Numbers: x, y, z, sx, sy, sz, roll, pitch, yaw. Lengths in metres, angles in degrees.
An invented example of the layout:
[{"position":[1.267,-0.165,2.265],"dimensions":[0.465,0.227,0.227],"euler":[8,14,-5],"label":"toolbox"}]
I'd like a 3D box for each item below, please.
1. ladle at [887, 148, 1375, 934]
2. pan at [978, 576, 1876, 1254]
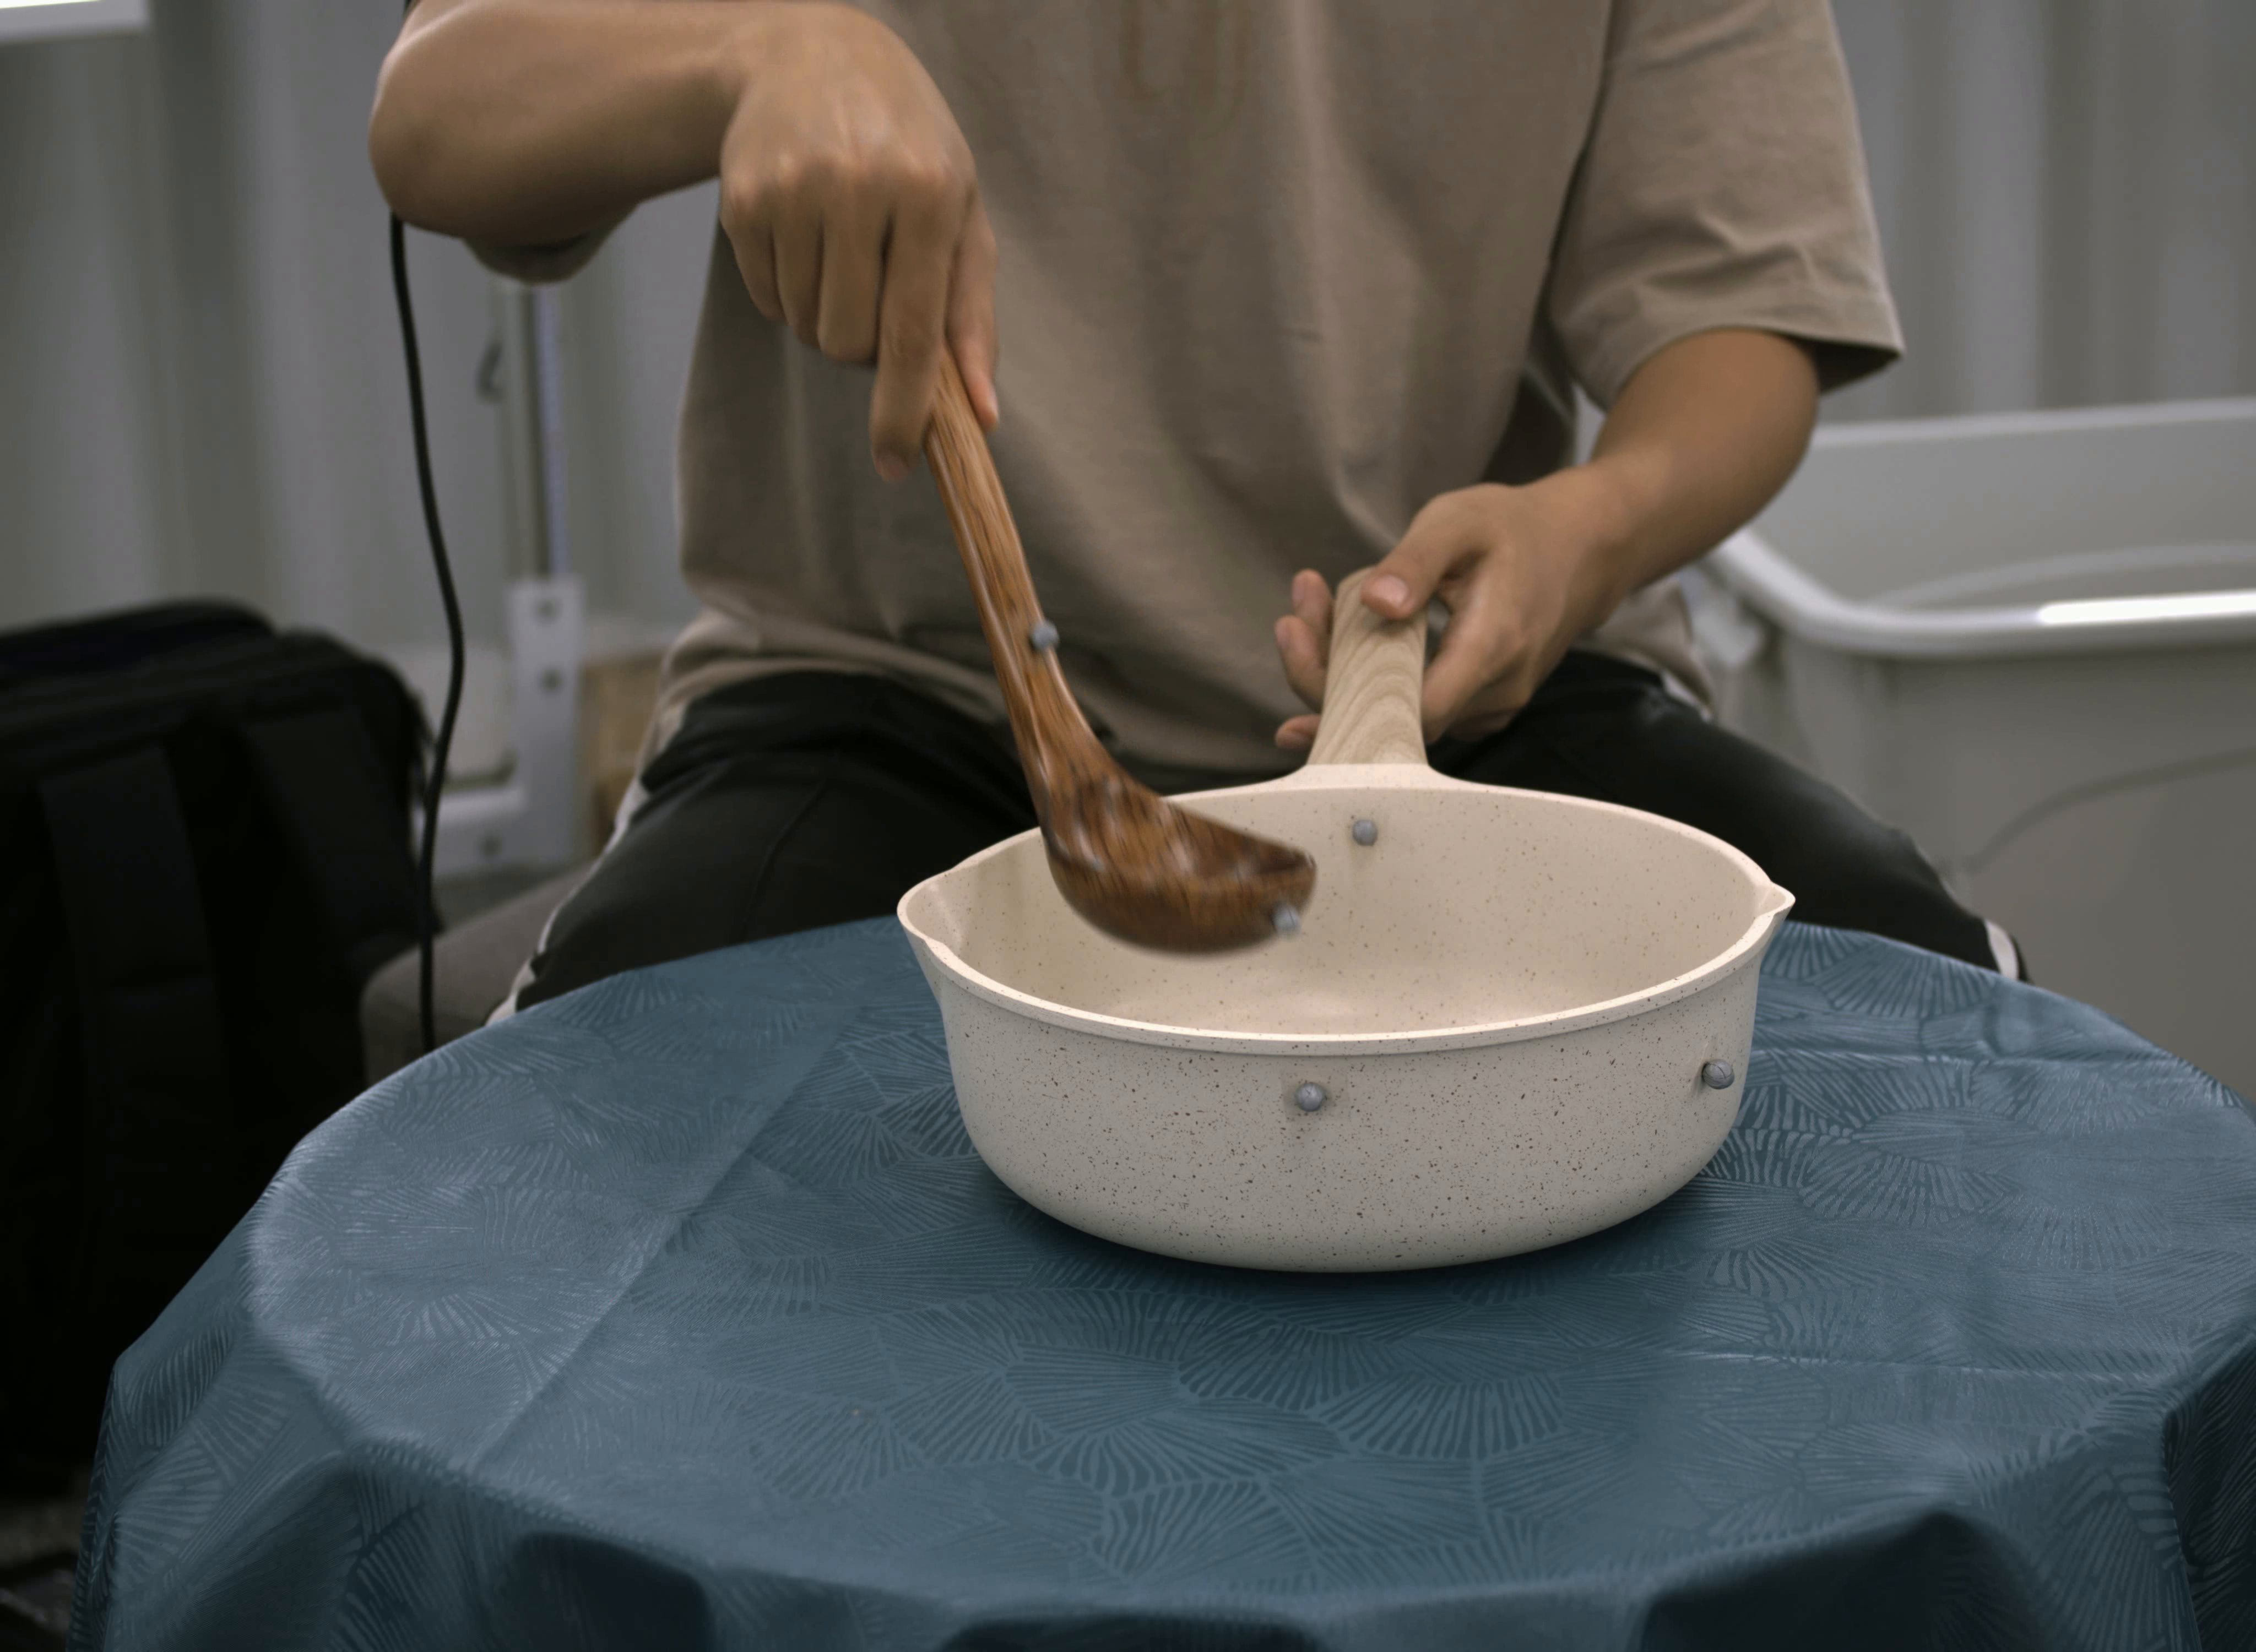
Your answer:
[{"position":[-0.003,-0.092,1.587],"dimensions":[0.078,0.277,0.080],"euler":[-29,-17,36],"label":"ladle"},{"position":[0.095,0.023,1.645],"dimensions":[0.263,0.102,0.435],"euler":[-2,16,6],"label":"pan"}]
